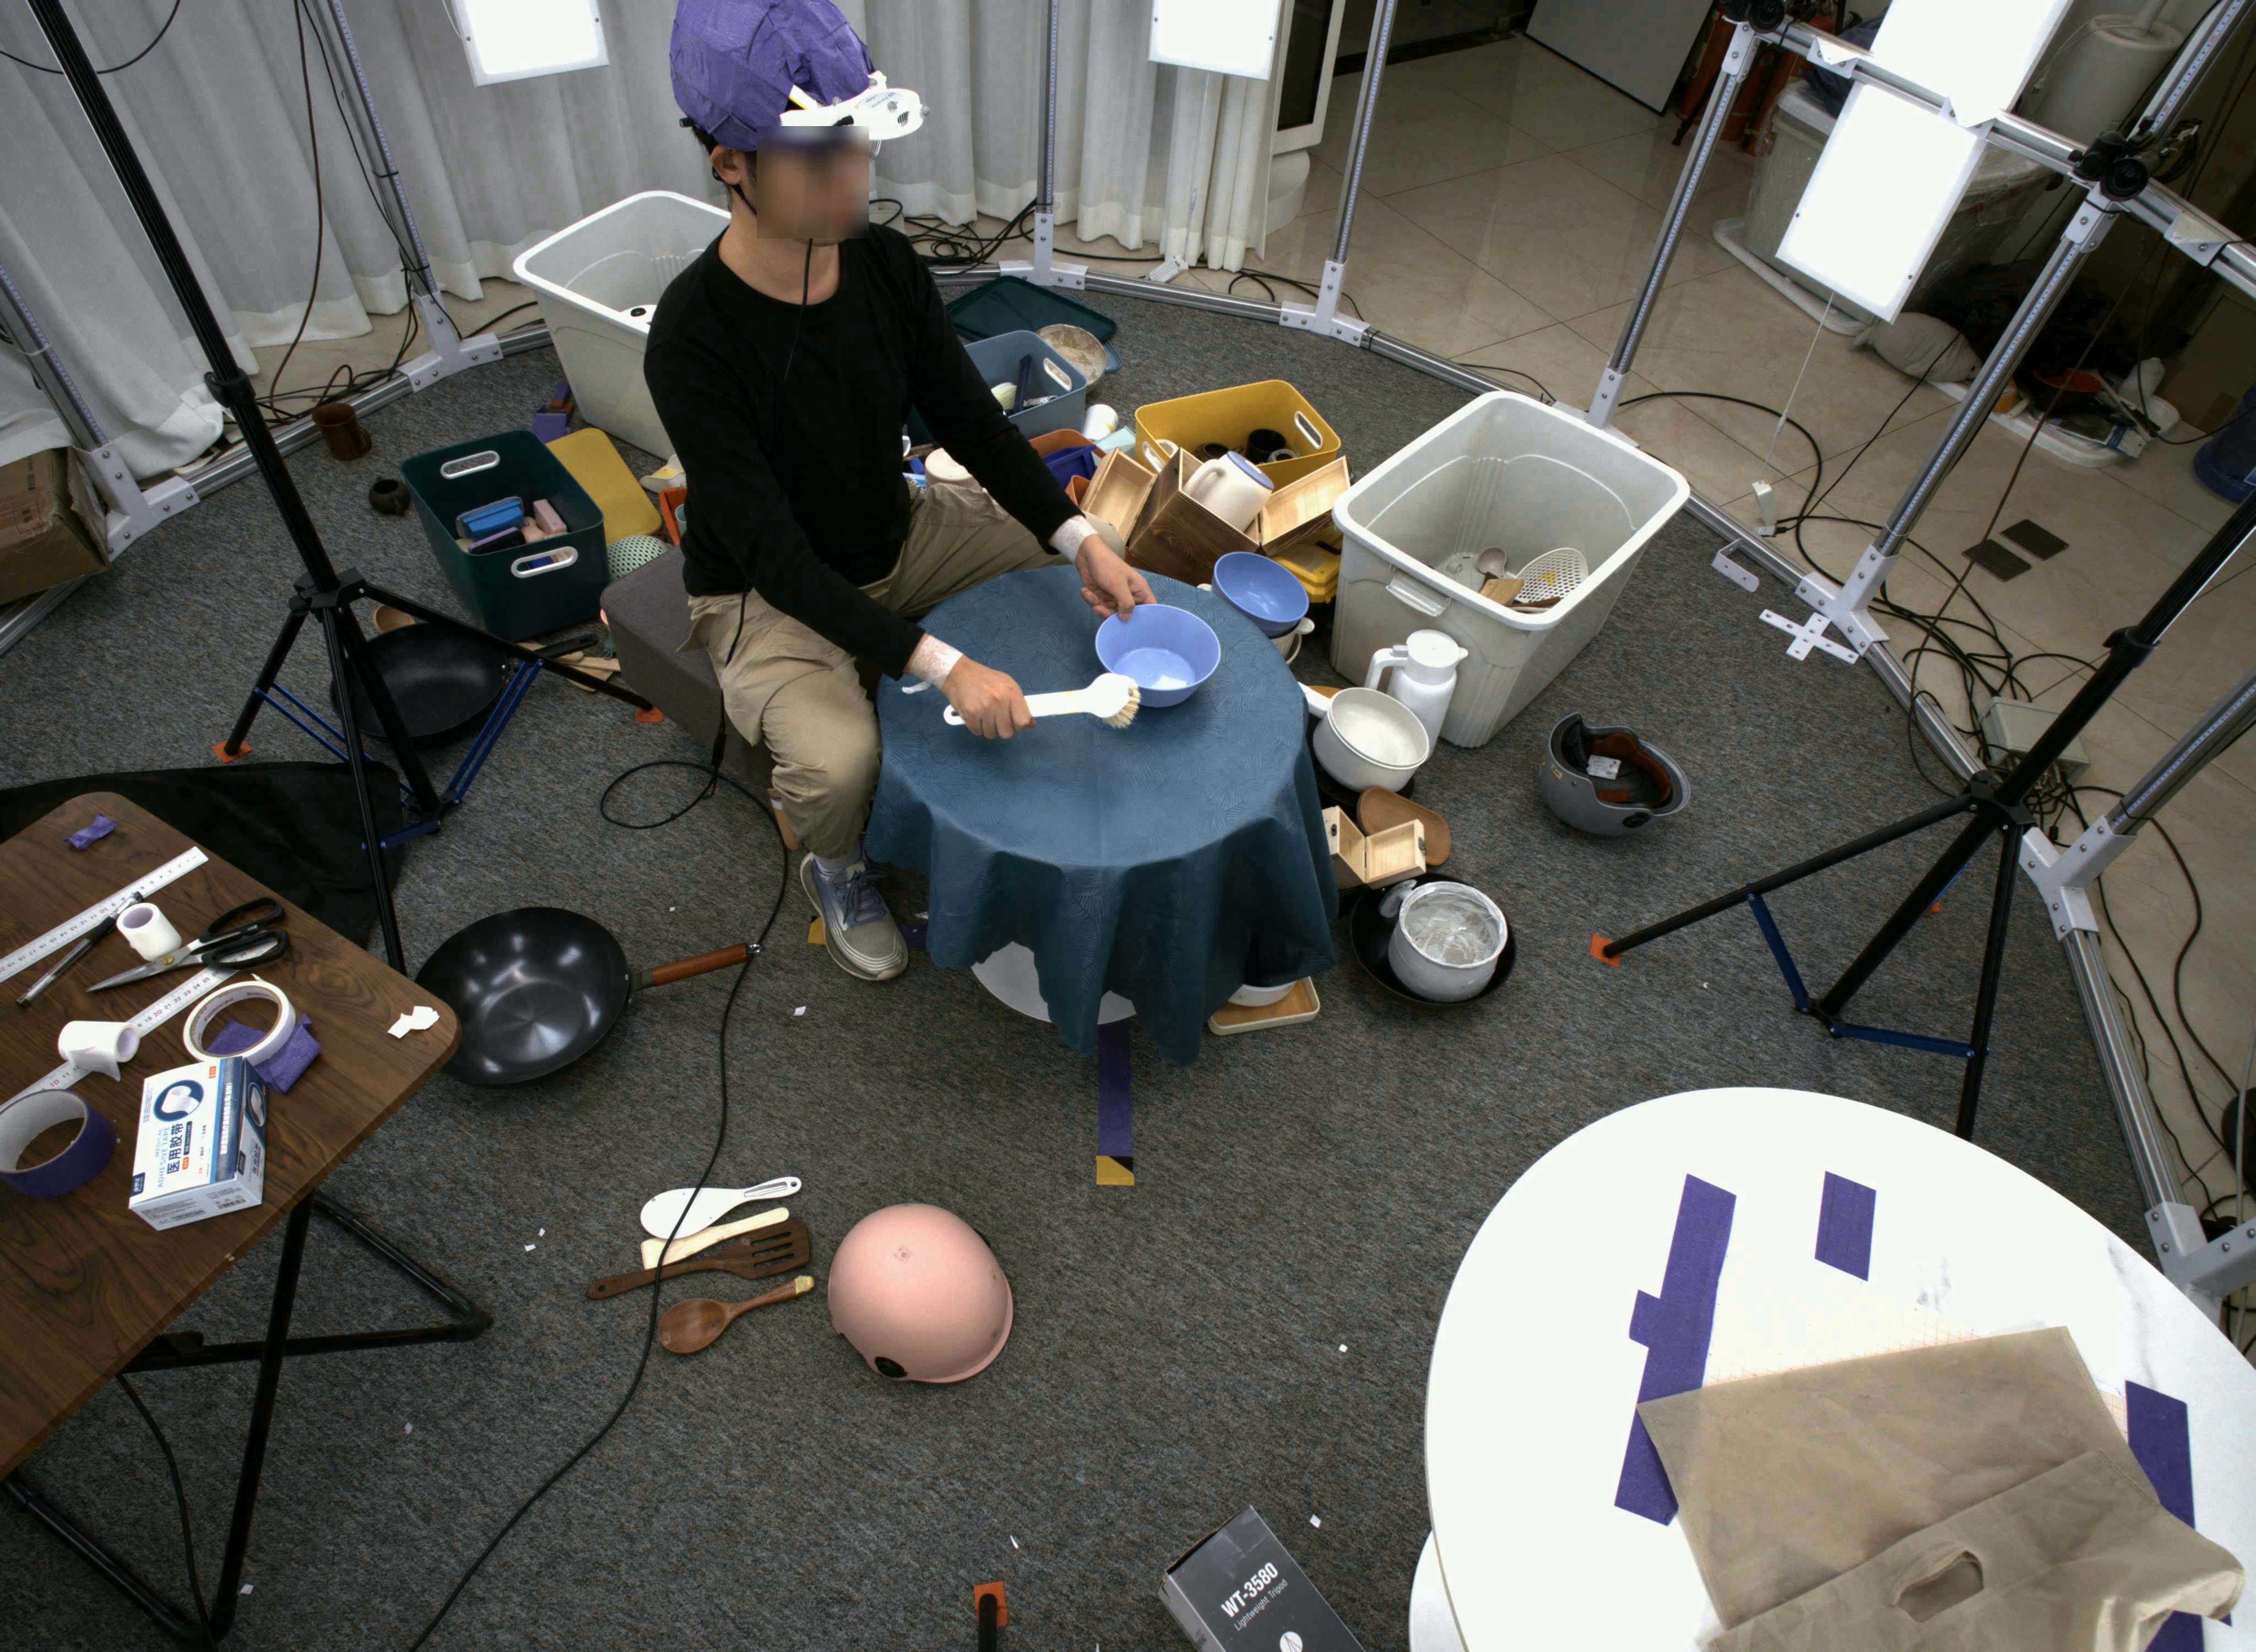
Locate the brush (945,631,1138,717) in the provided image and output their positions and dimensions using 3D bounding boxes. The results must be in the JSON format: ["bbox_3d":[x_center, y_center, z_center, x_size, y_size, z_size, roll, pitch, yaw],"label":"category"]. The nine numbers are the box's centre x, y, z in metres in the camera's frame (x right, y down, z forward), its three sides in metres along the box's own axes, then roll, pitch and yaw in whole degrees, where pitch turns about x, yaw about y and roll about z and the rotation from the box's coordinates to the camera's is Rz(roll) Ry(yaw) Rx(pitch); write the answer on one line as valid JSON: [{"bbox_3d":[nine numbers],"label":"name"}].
[{"bbox_3d":[-0.115,-0.193,1.734,0.266,0.055,0.070,-22,61,-1],"label":"brush"}]

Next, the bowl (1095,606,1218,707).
[{"bbox_3d":[0.037,-0.233,1.826,0.176,0.068,0.180,3,48,-3],"label":"bowl"}]
